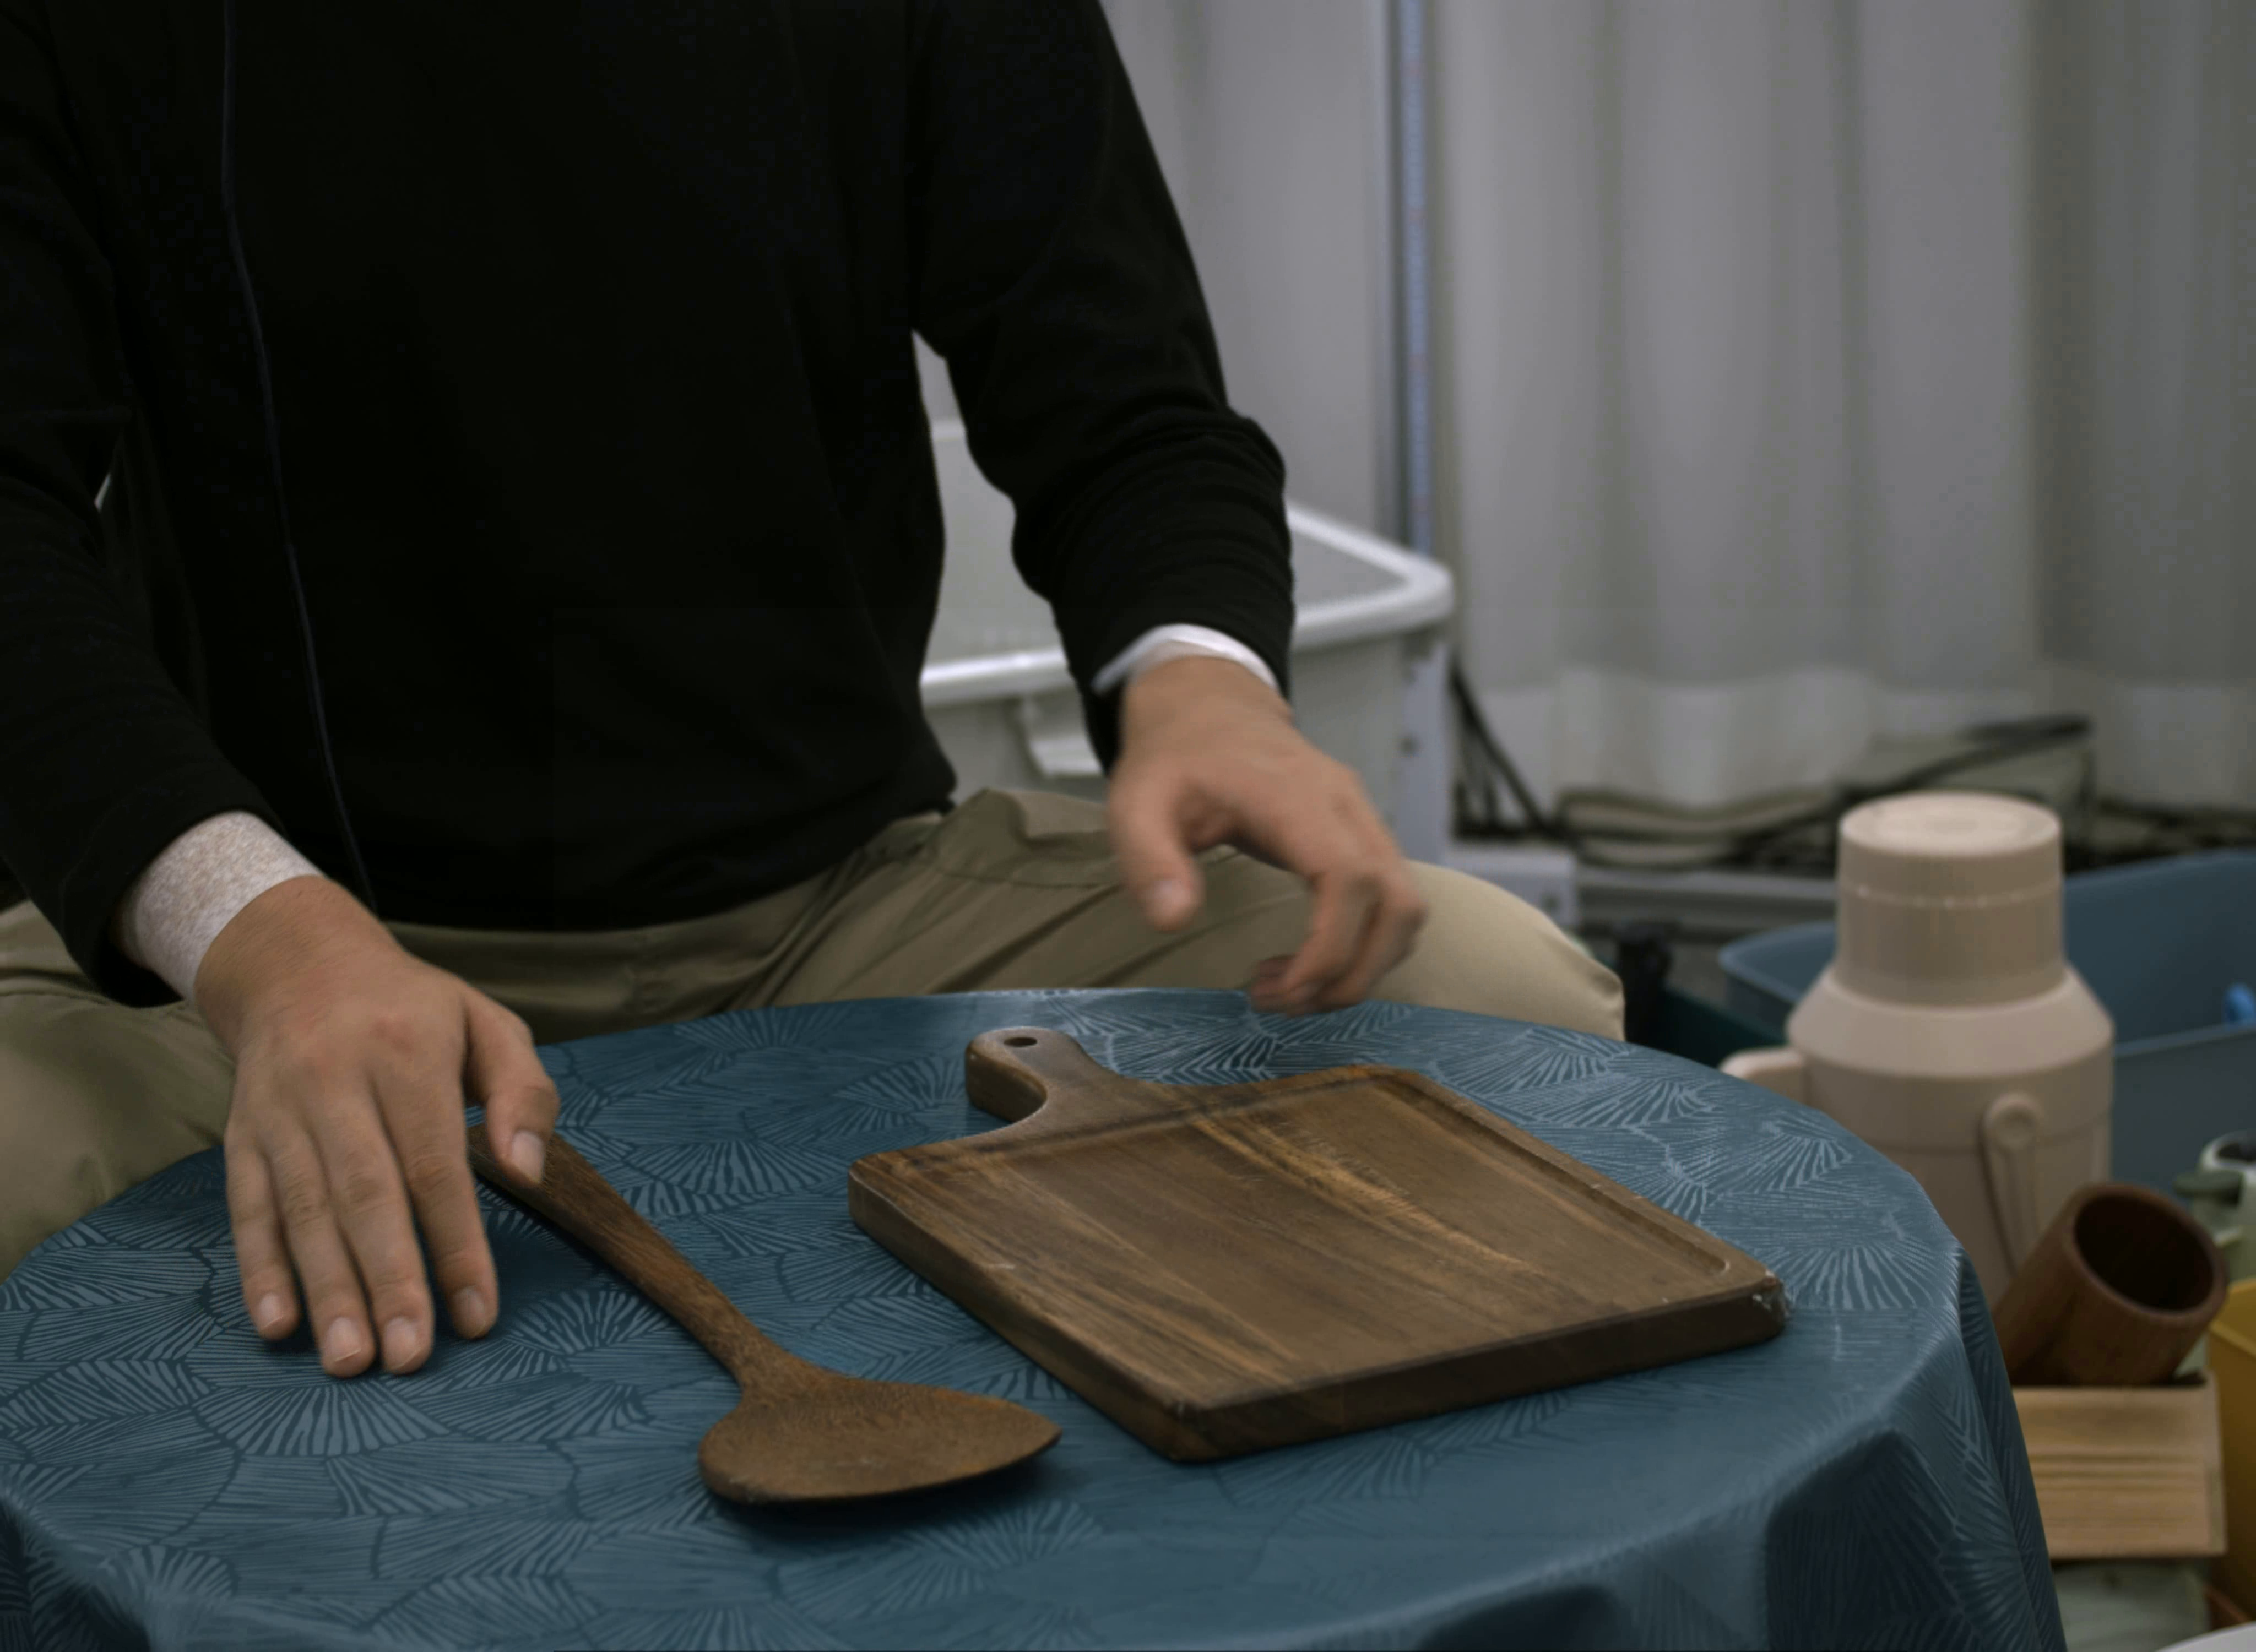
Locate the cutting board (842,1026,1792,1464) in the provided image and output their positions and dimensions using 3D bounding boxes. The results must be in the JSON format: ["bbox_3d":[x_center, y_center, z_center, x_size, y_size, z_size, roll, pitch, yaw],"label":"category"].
[{"bbox_3d":[0.030,0.114,1.671,0.200,0.023,0.355,-9,16,-23],"label":"cutting board"}]

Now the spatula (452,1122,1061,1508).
[{"bbox_3d":[-0.133,0.139,1.622,0.095,0.016,0.389,-9,16,-23],"label":"spatula"}]
